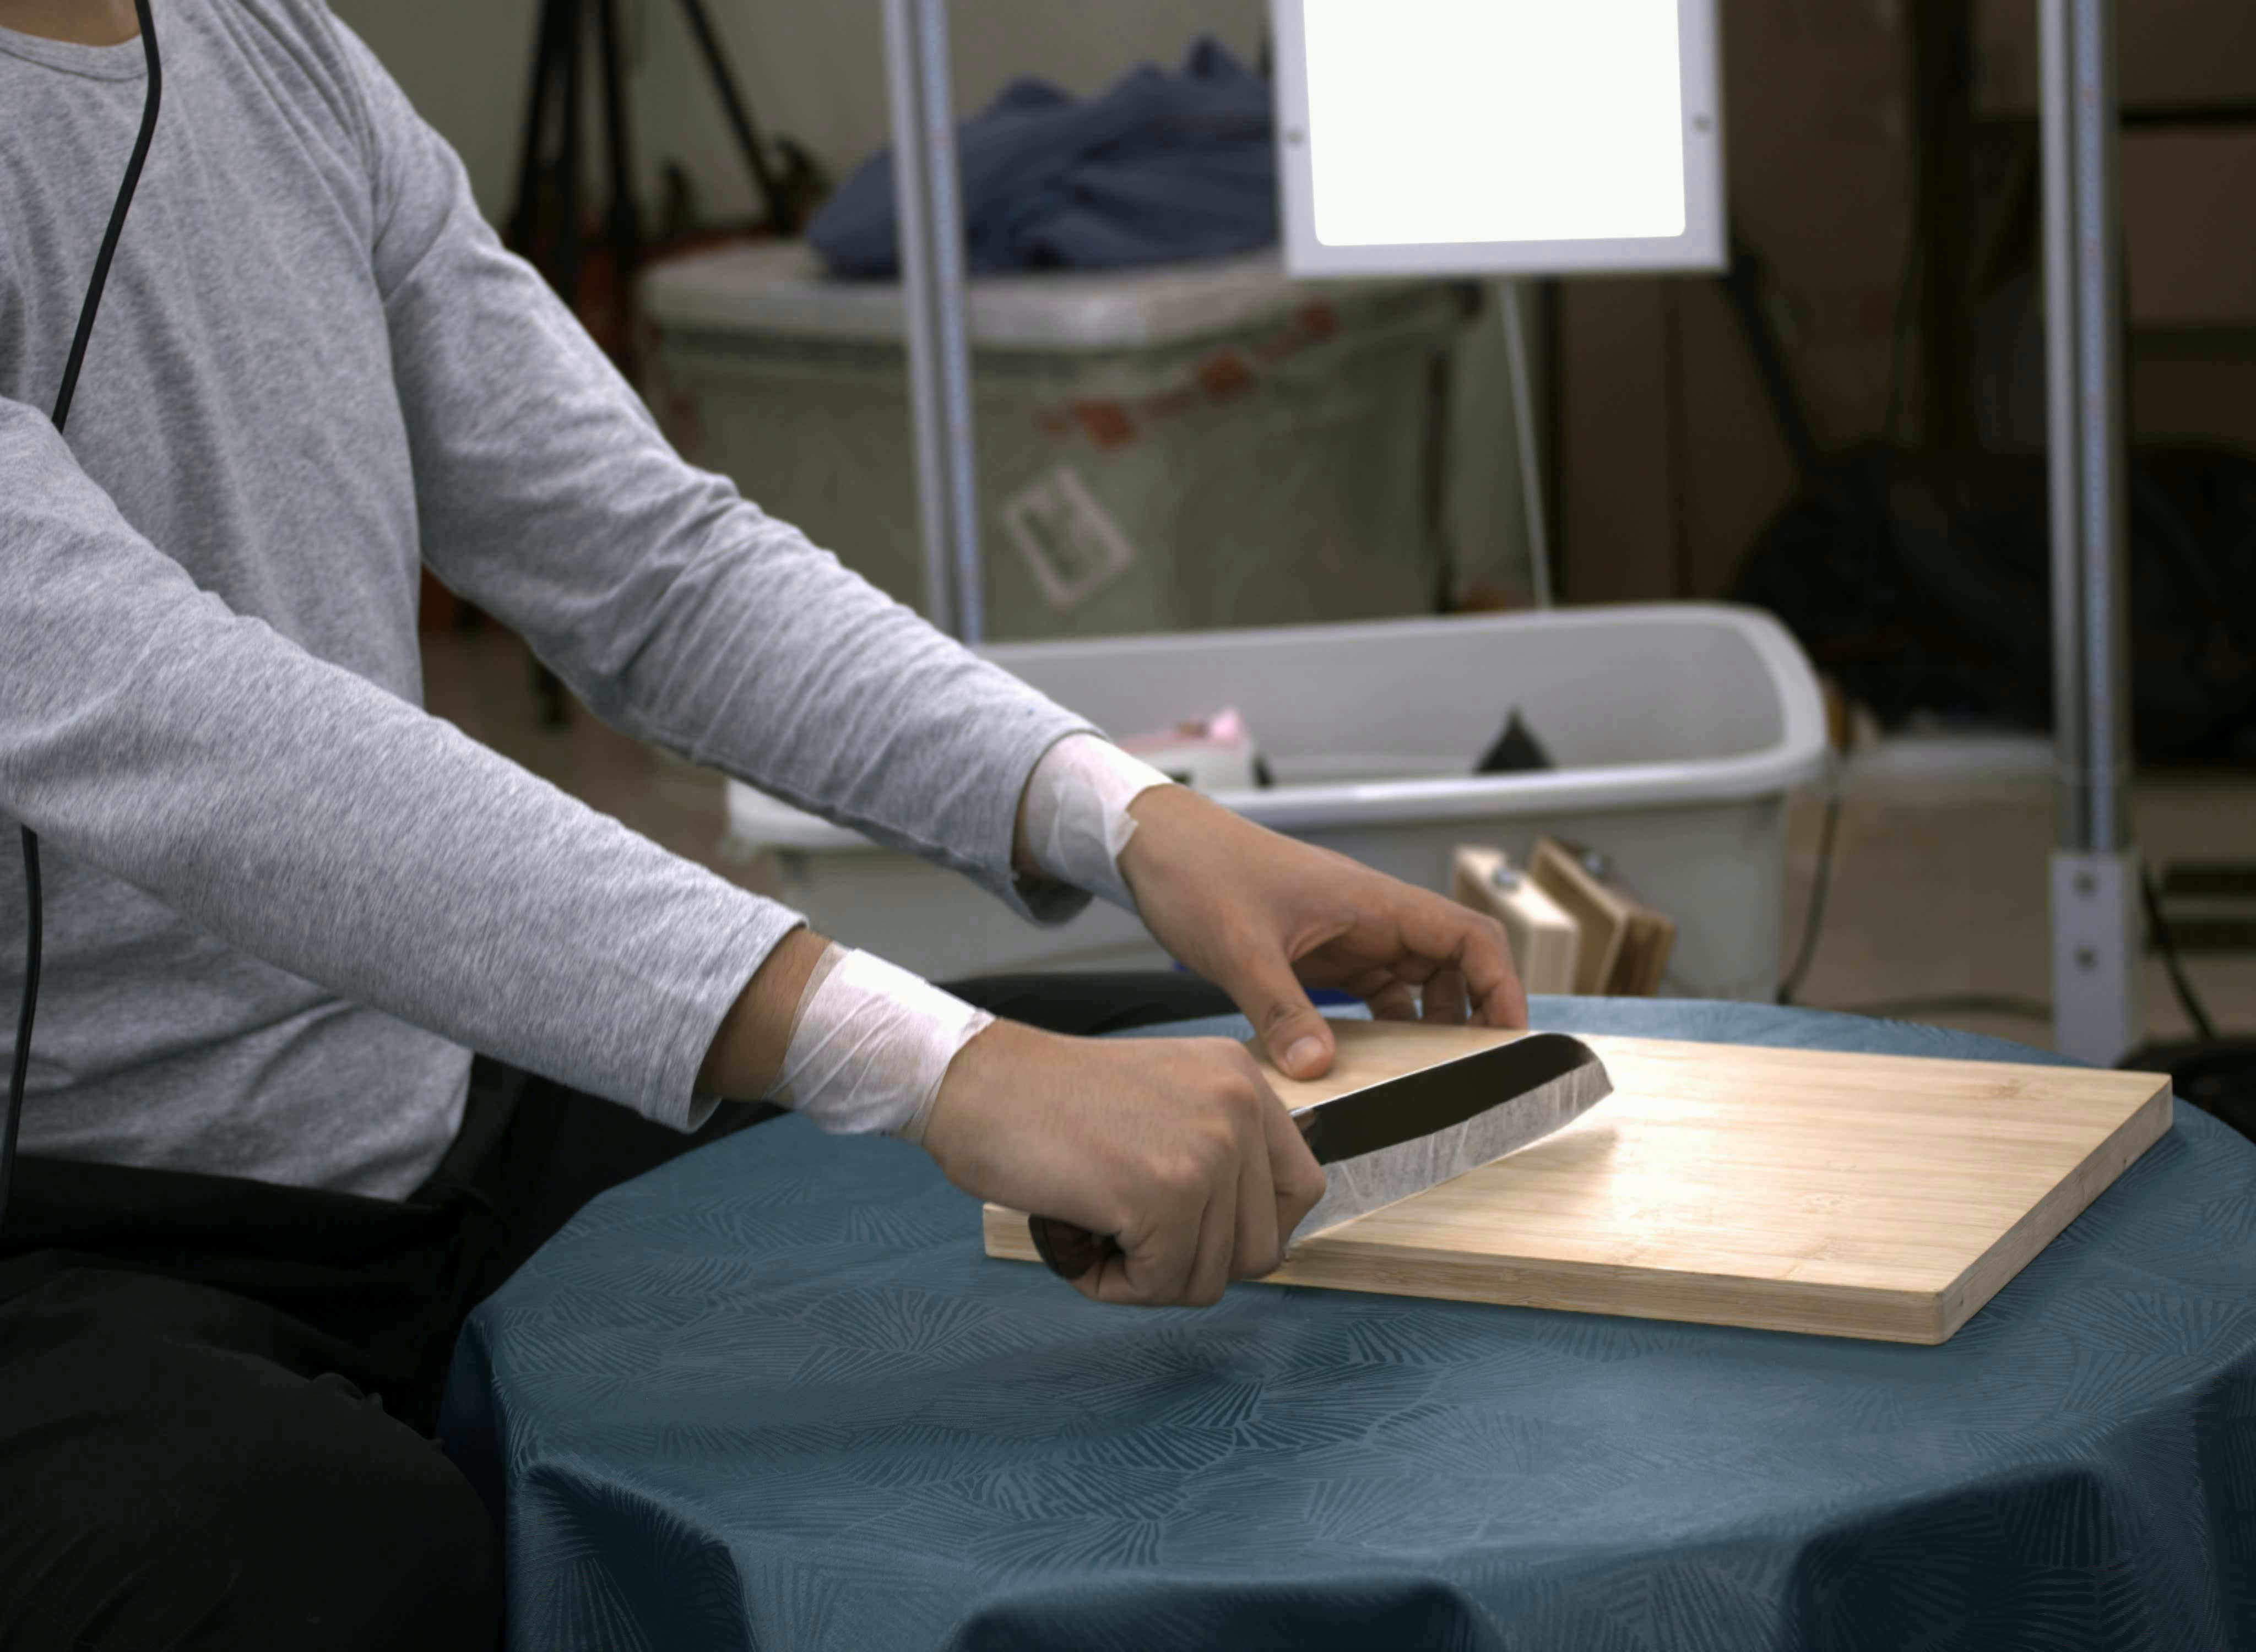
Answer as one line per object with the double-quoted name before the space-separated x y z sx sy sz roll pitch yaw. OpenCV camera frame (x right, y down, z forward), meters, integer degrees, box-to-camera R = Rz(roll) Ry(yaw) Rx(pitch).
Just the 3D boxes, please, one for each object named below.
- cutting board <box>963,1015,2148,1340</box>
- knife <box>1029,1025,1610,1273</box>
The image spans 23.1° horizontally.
"cutting board" 0.151 0.115 1.862 0.355 0.023 0.245 2 15 29
"knife" 0.070 0.104 1.782 0.020 0.050 0.281 22 23 39
